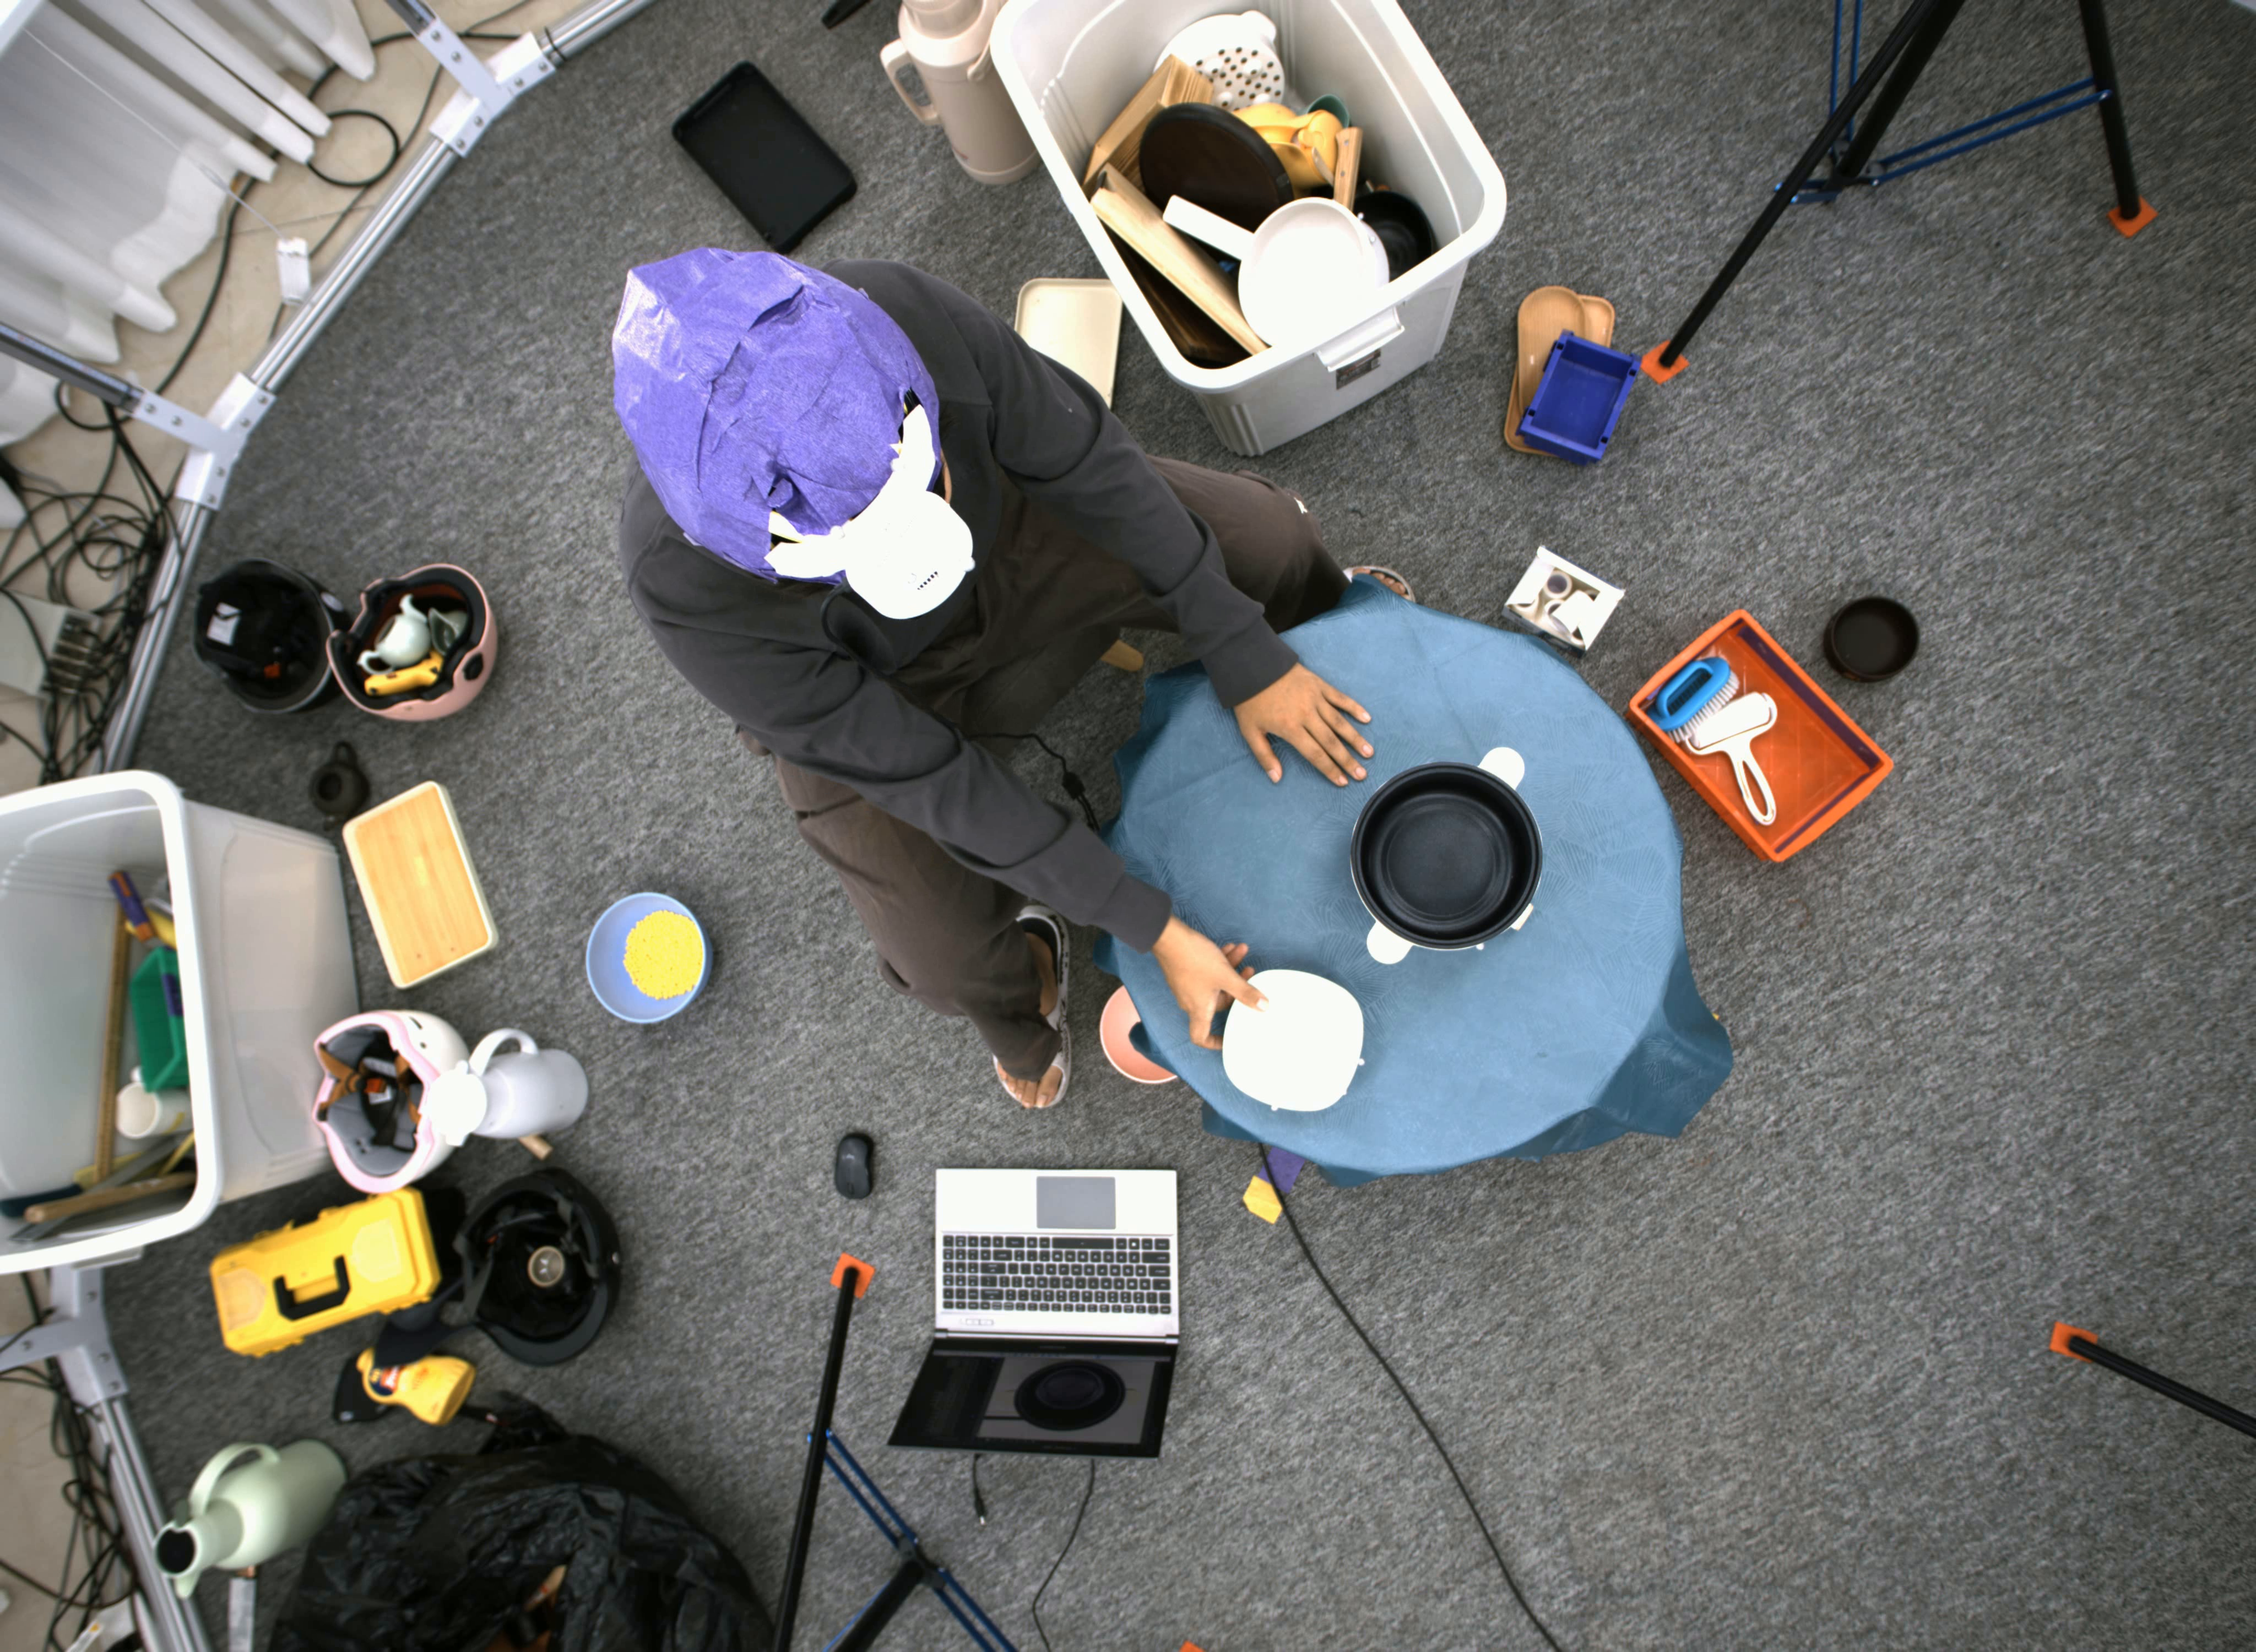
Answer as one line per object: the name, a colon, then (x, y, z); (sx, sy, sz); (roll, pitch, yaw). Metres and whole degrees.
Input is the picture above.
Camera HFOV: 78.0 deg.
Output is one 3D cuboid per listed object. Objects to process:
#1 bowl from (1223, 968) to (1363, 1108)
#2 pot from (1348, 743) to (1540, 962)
bowl: (0.172, 0.218, 1.442); (0.152, 0.058, 0.151); (-1, 87, 9)
pot: (0.320, 0.032, 1.382); (0.190, 0.142, 0.241); (32, 94, 15)
